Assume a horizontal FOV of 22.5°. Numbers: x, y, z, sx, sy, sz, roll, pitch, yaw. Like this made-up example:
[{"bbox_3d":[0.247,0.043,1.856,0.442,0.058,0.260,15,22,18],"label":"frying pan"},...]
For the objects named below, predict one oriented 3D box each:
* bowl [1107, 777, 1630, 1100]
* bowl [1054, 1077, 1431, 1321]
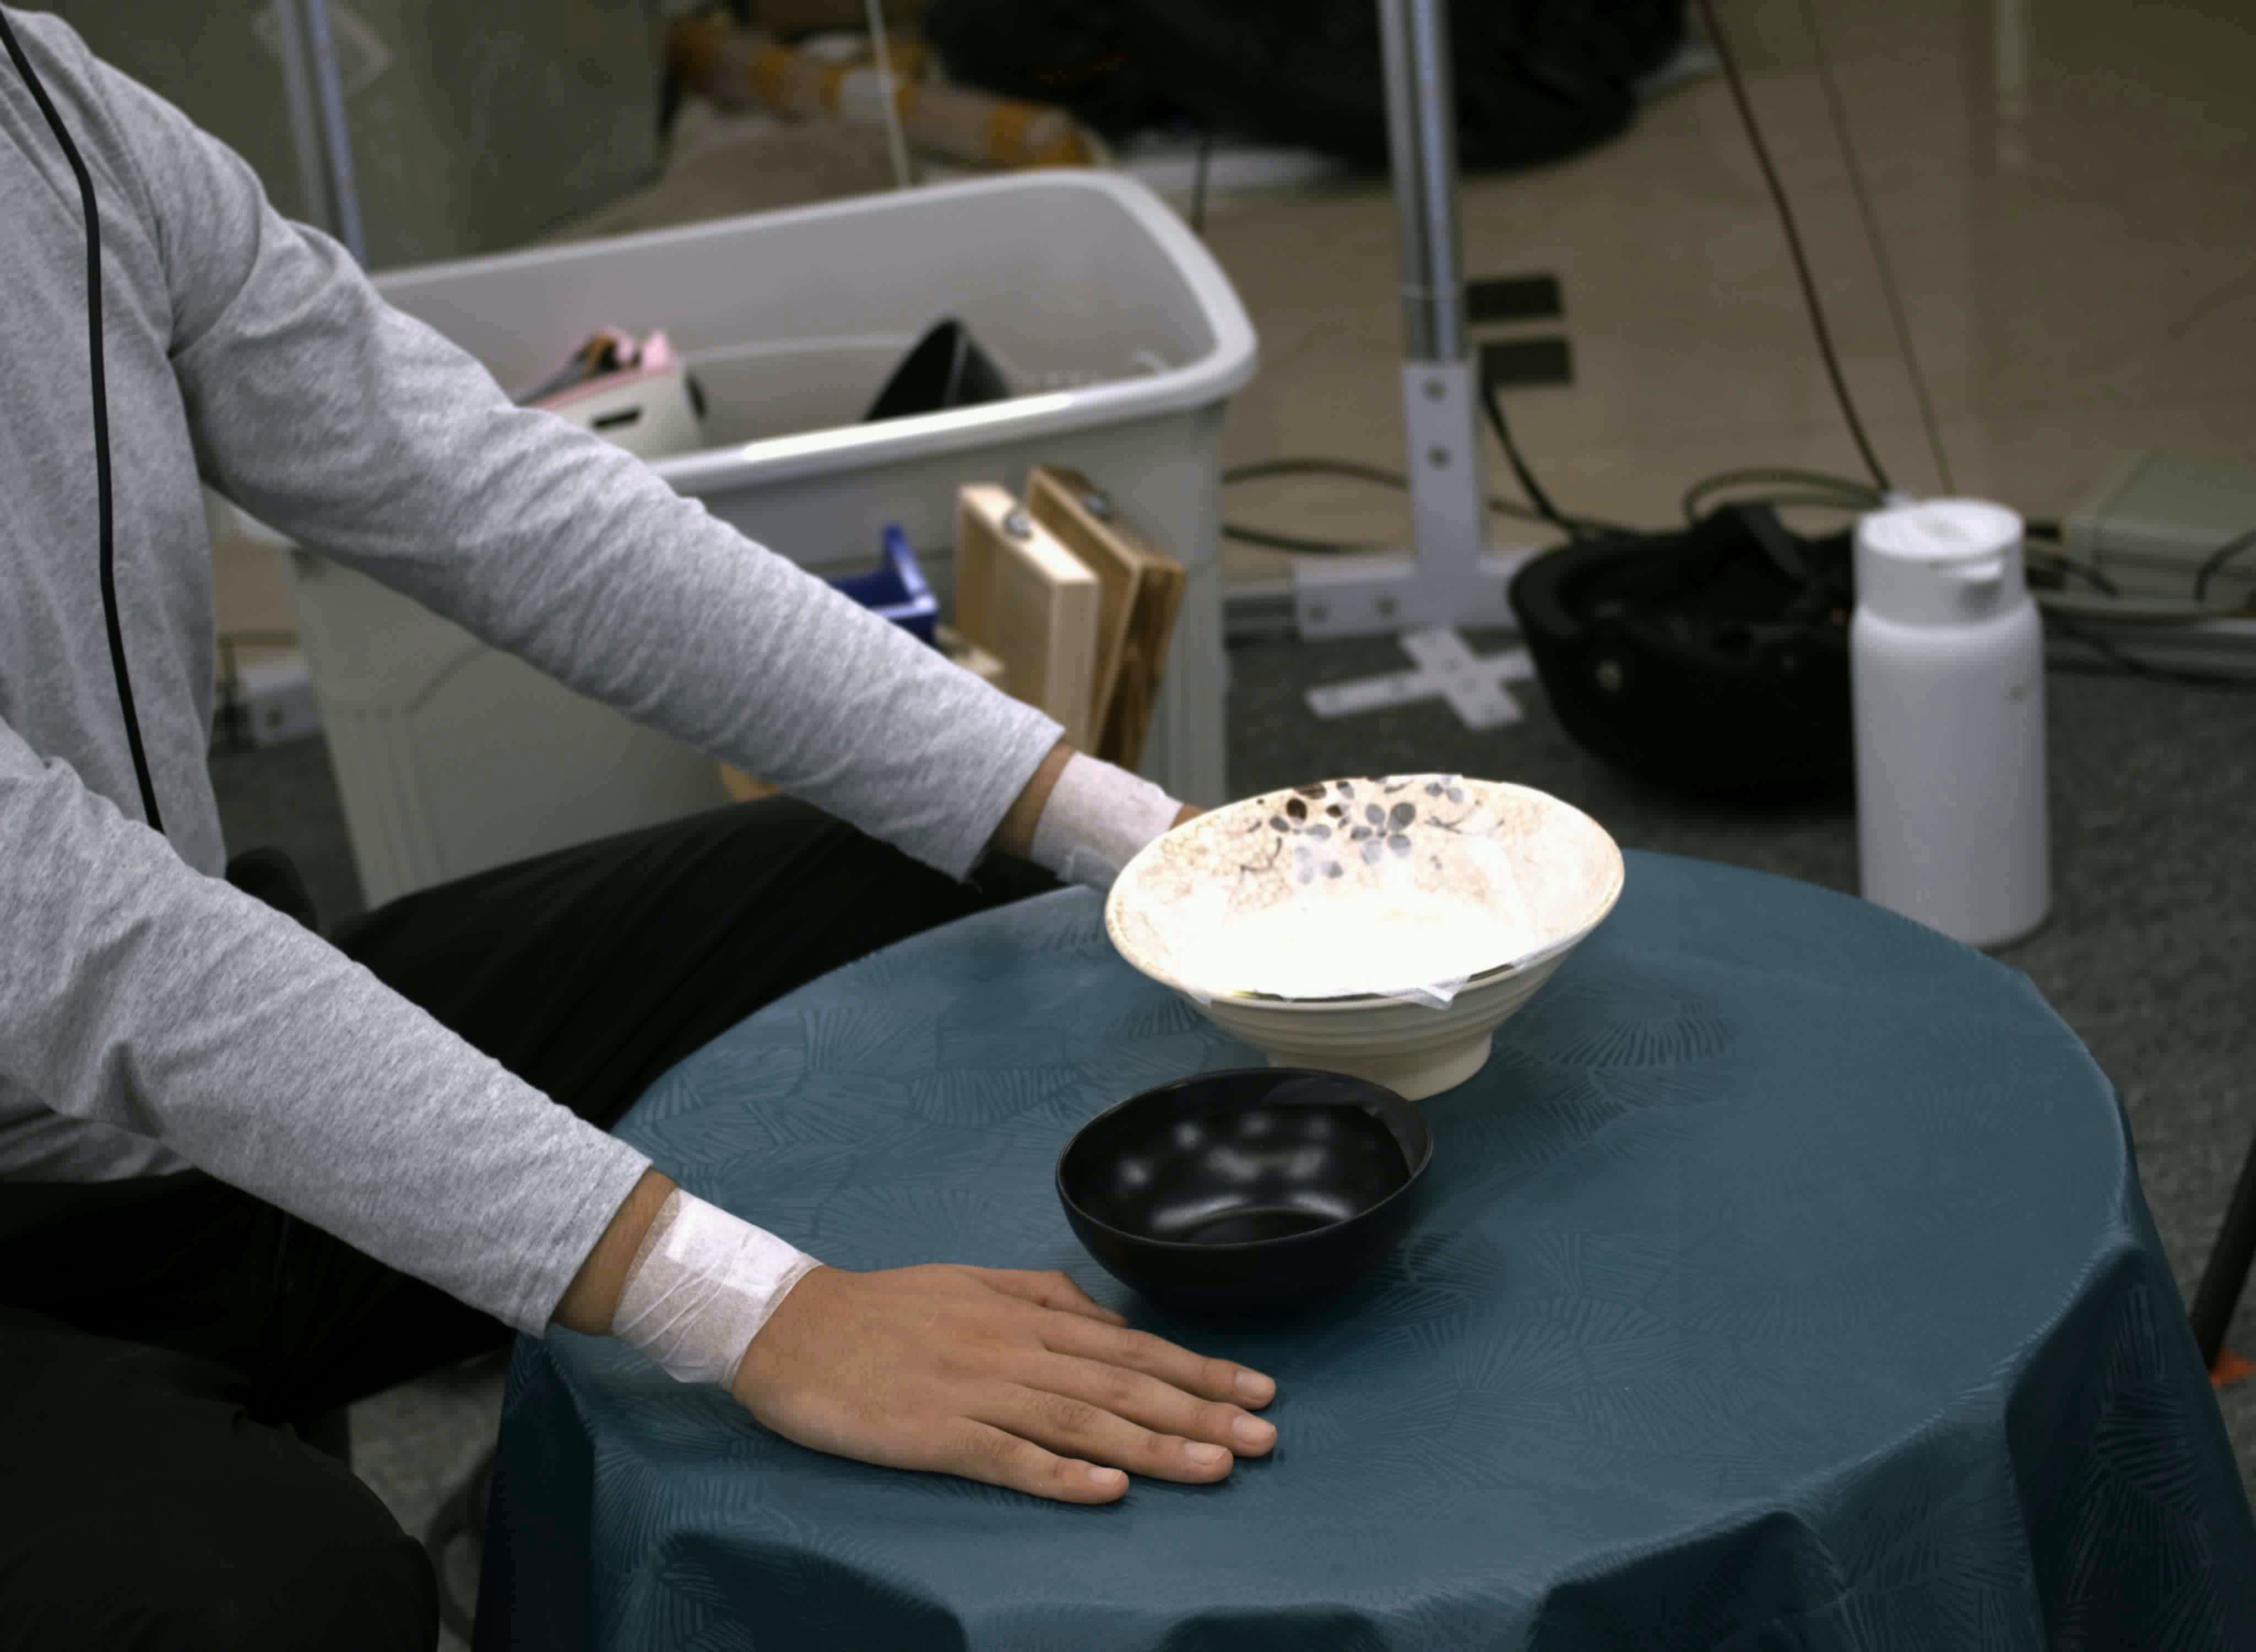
[{"bbox_3d":[0.096,0.055,2.213,0.203,0.079,0.201,-5,24,3],"label":"bowl"},{"bbox_3d":[0.045,0.143,2.078,0.140,0.050,0.138,-8,22,3],"label":"bowl"}]
